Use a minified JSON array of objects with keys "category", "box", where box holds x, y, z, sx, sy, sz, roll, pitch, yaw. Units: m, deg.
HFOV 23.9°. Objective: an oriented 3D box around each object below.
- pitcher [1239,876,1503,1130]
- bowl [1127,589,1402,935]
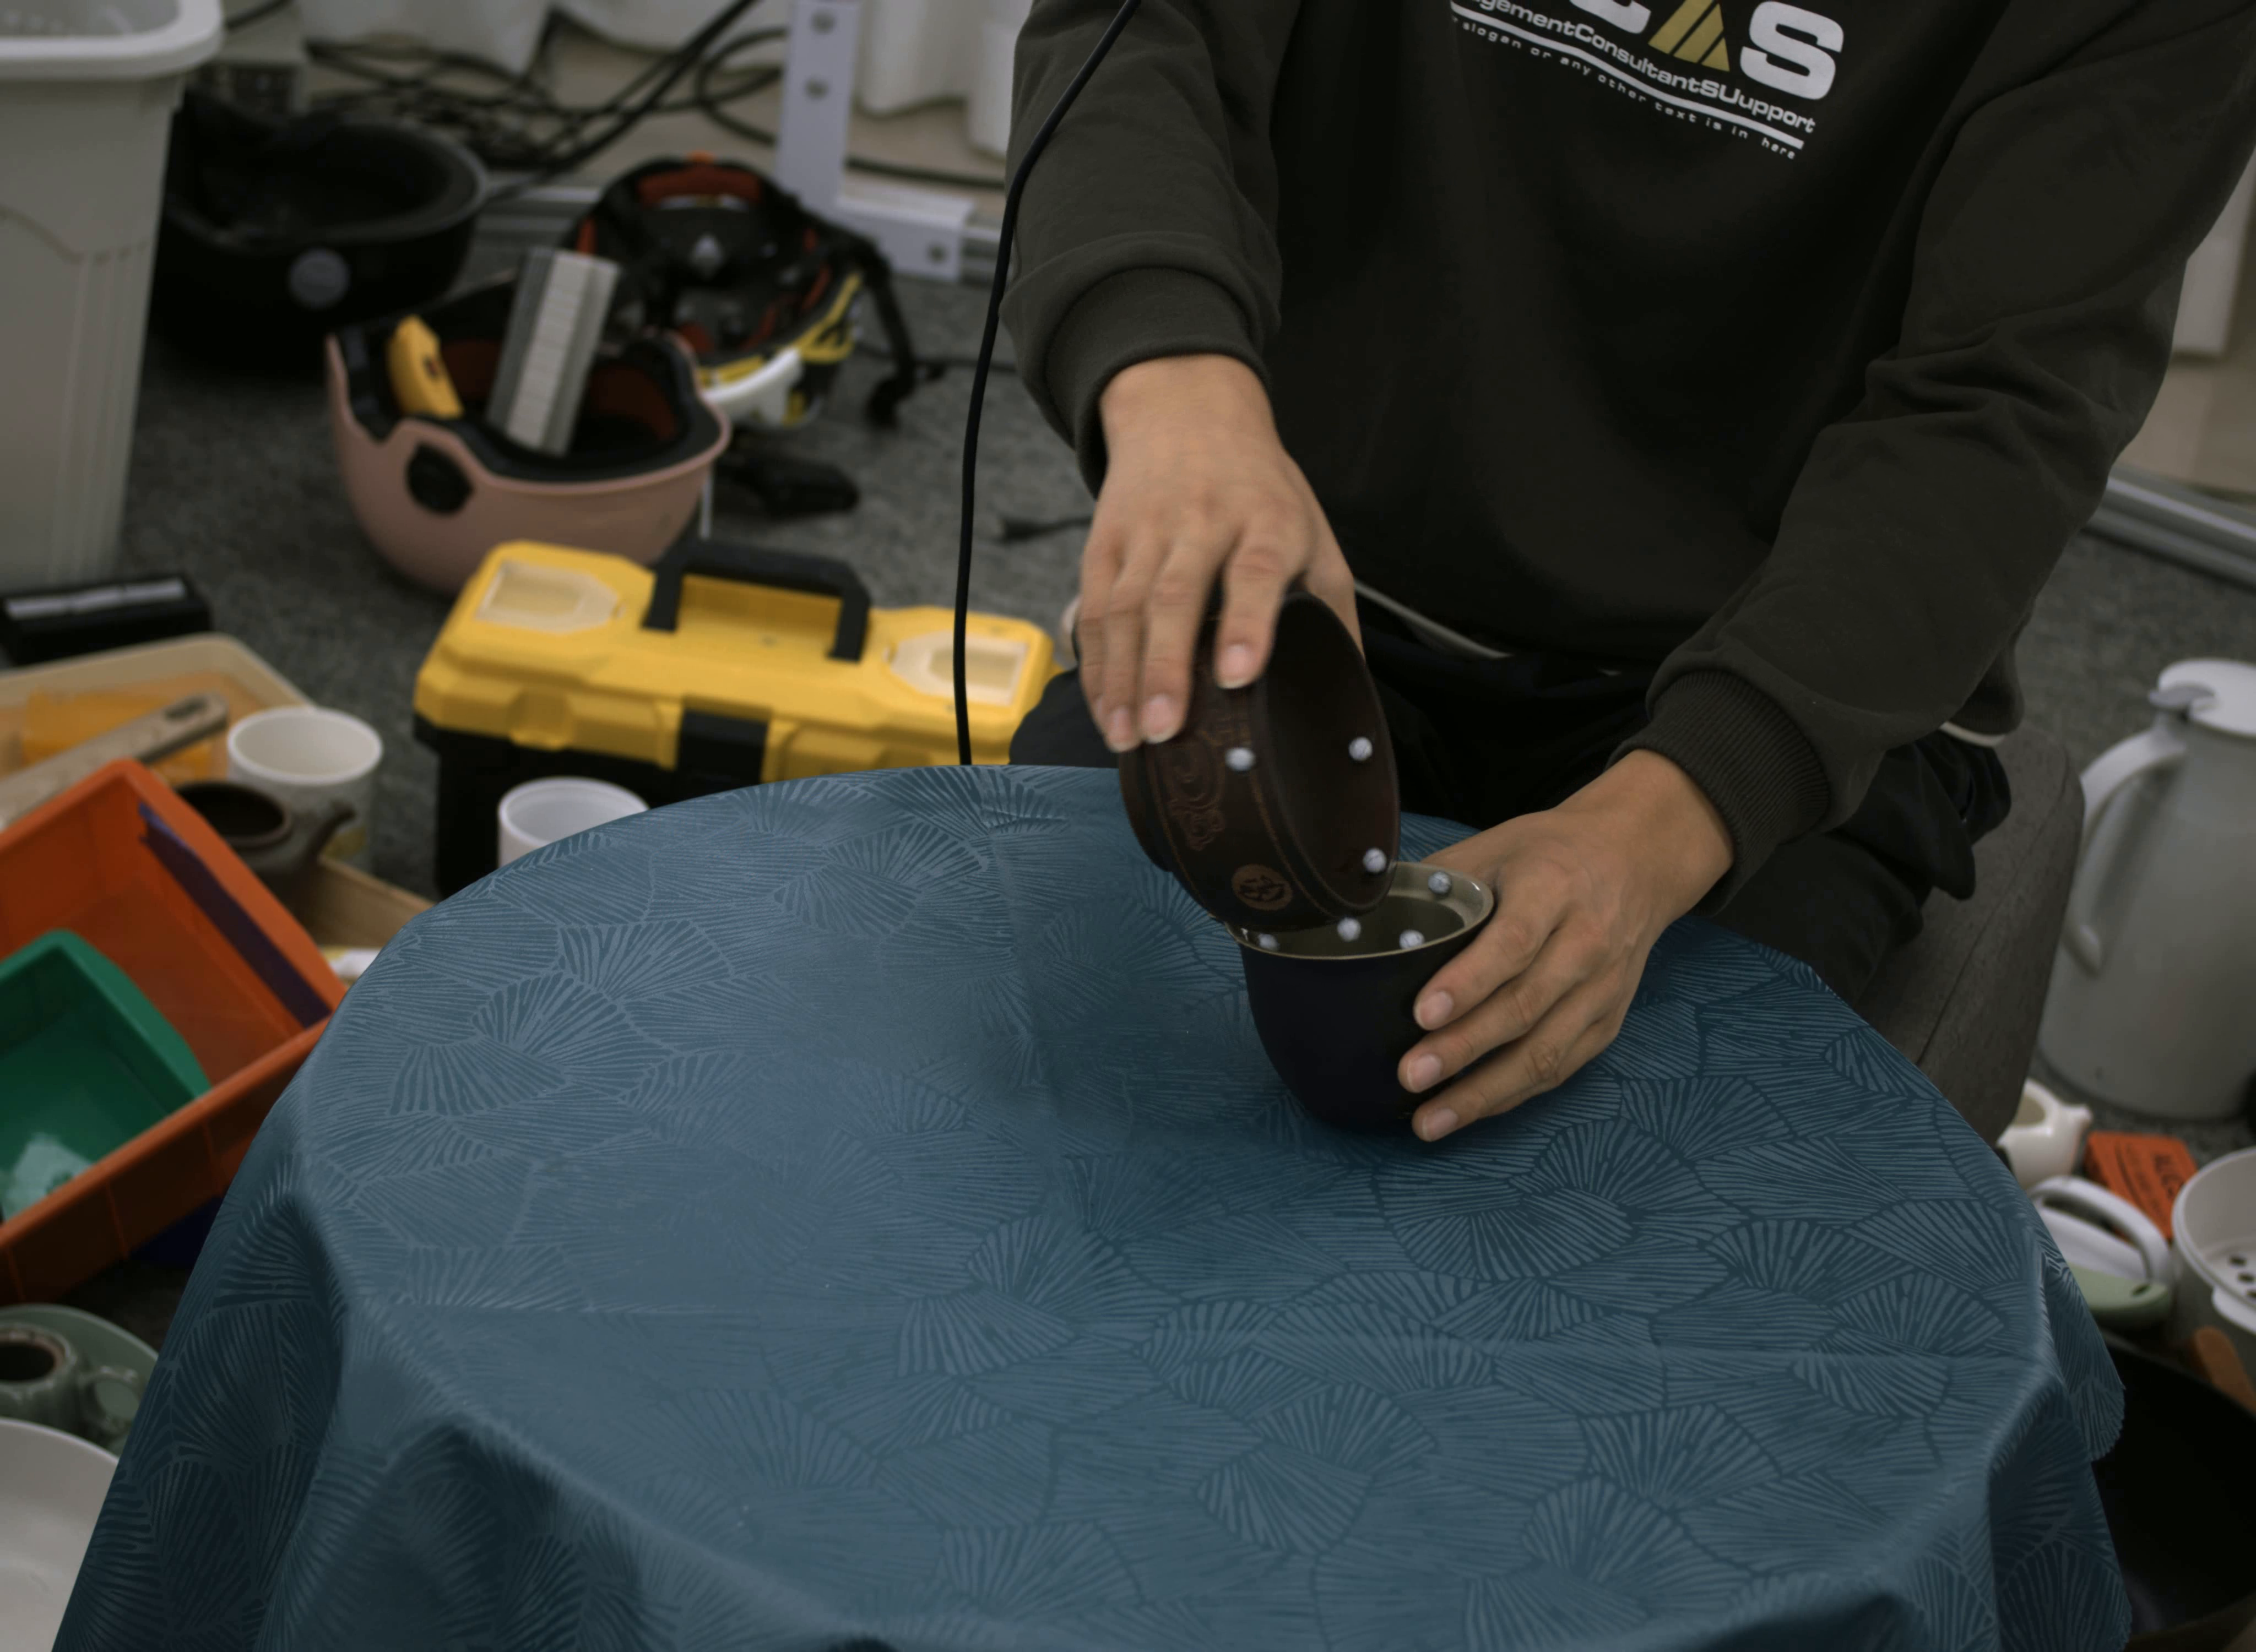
[{"category":"pitcher","box":[0.088,0.064,1.864,0.096,0.071,0.083,2,28,33]},{"category":"bowl","box":[0.042,-0.018,1.839,0.070,0.117,0.118,-13,20,21]}]
